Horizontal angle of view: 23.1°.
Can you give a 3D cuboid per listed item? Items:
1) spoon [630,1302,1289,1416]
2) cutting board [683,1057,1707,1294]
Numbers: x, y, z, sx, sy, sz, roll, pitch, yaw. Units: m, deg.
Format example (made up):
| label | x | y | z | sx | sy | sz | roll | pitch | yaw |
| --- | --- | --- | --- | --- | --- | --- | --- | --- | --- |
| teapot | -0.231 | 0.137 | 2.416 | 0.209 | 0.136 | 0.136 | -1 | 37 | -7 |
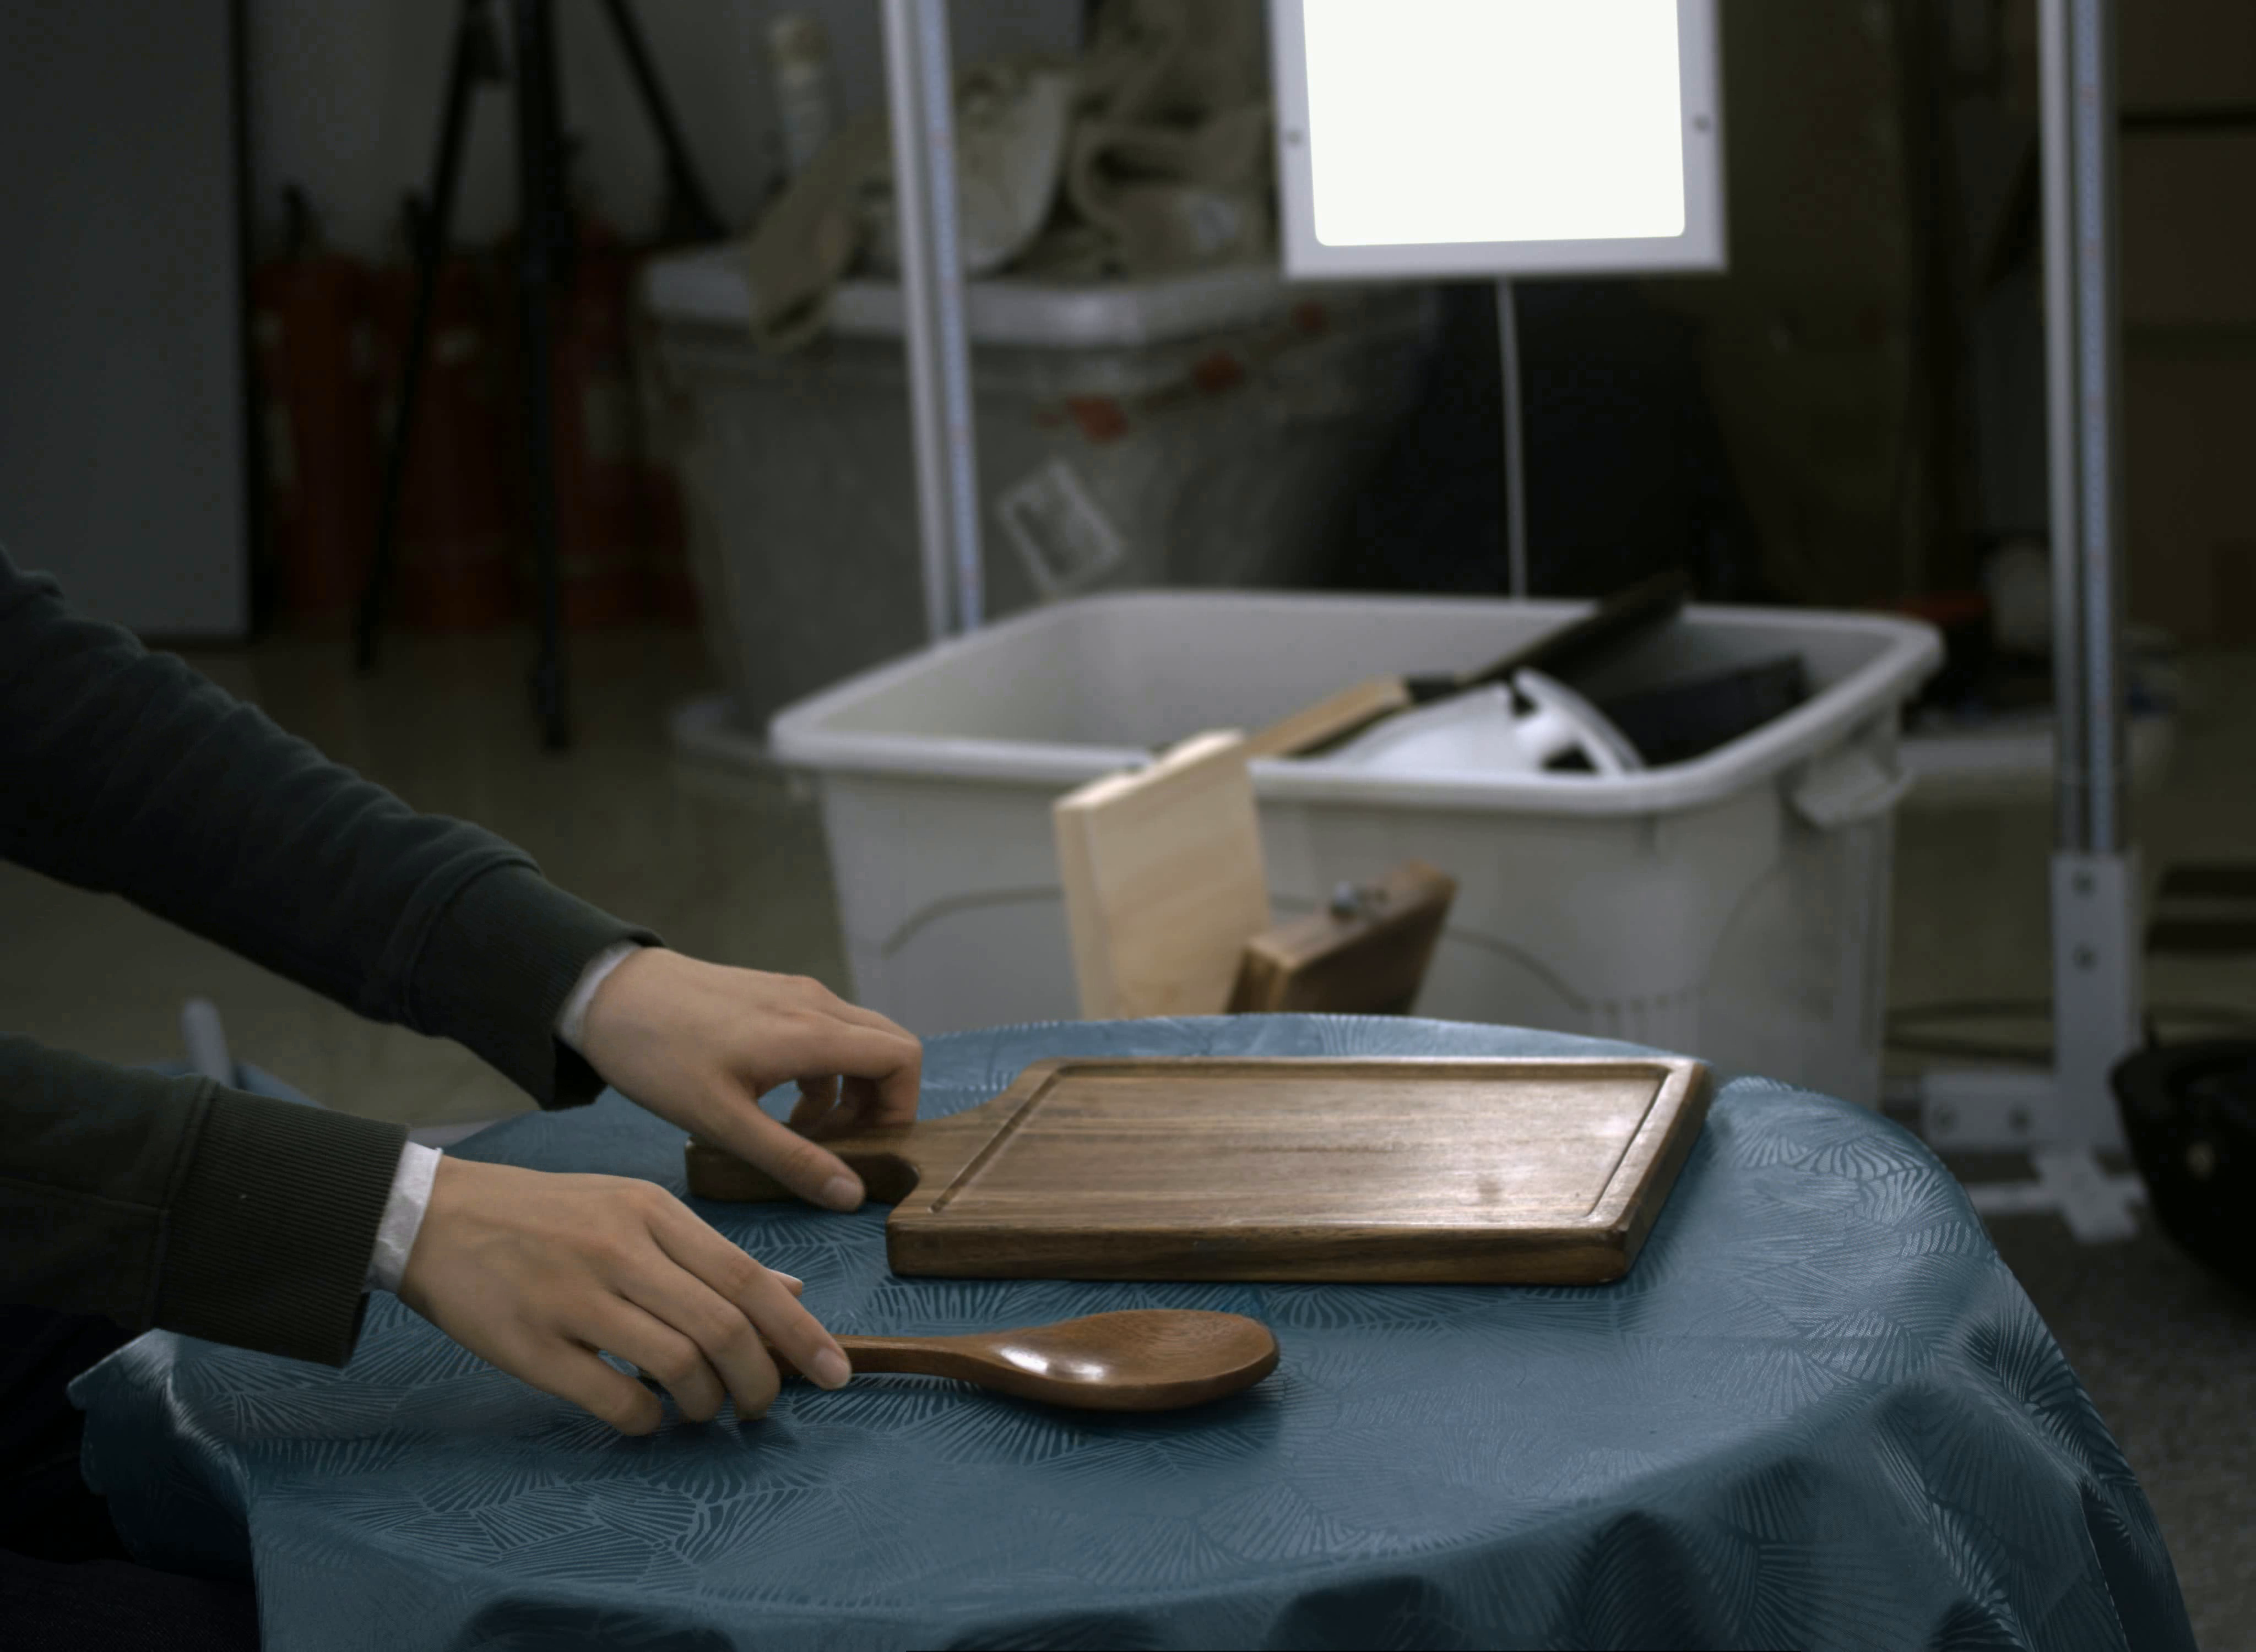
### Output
| label | x | y | z | sx | sy | sz | roll | pitch | yaw |
| --- | --- | --- | --- | --- | --- | --- | --- | --- | --- |
| spoon | -0.054 | 0.165 | 1.720 | 0.218 | 0.017 | 0.074 | 1 | 17 | 20 |
| cutting board | 0.015 | 0.117 | 1.894 | 0.356 | 0.023 | 0.198 | -1 | 15 | 17 |
